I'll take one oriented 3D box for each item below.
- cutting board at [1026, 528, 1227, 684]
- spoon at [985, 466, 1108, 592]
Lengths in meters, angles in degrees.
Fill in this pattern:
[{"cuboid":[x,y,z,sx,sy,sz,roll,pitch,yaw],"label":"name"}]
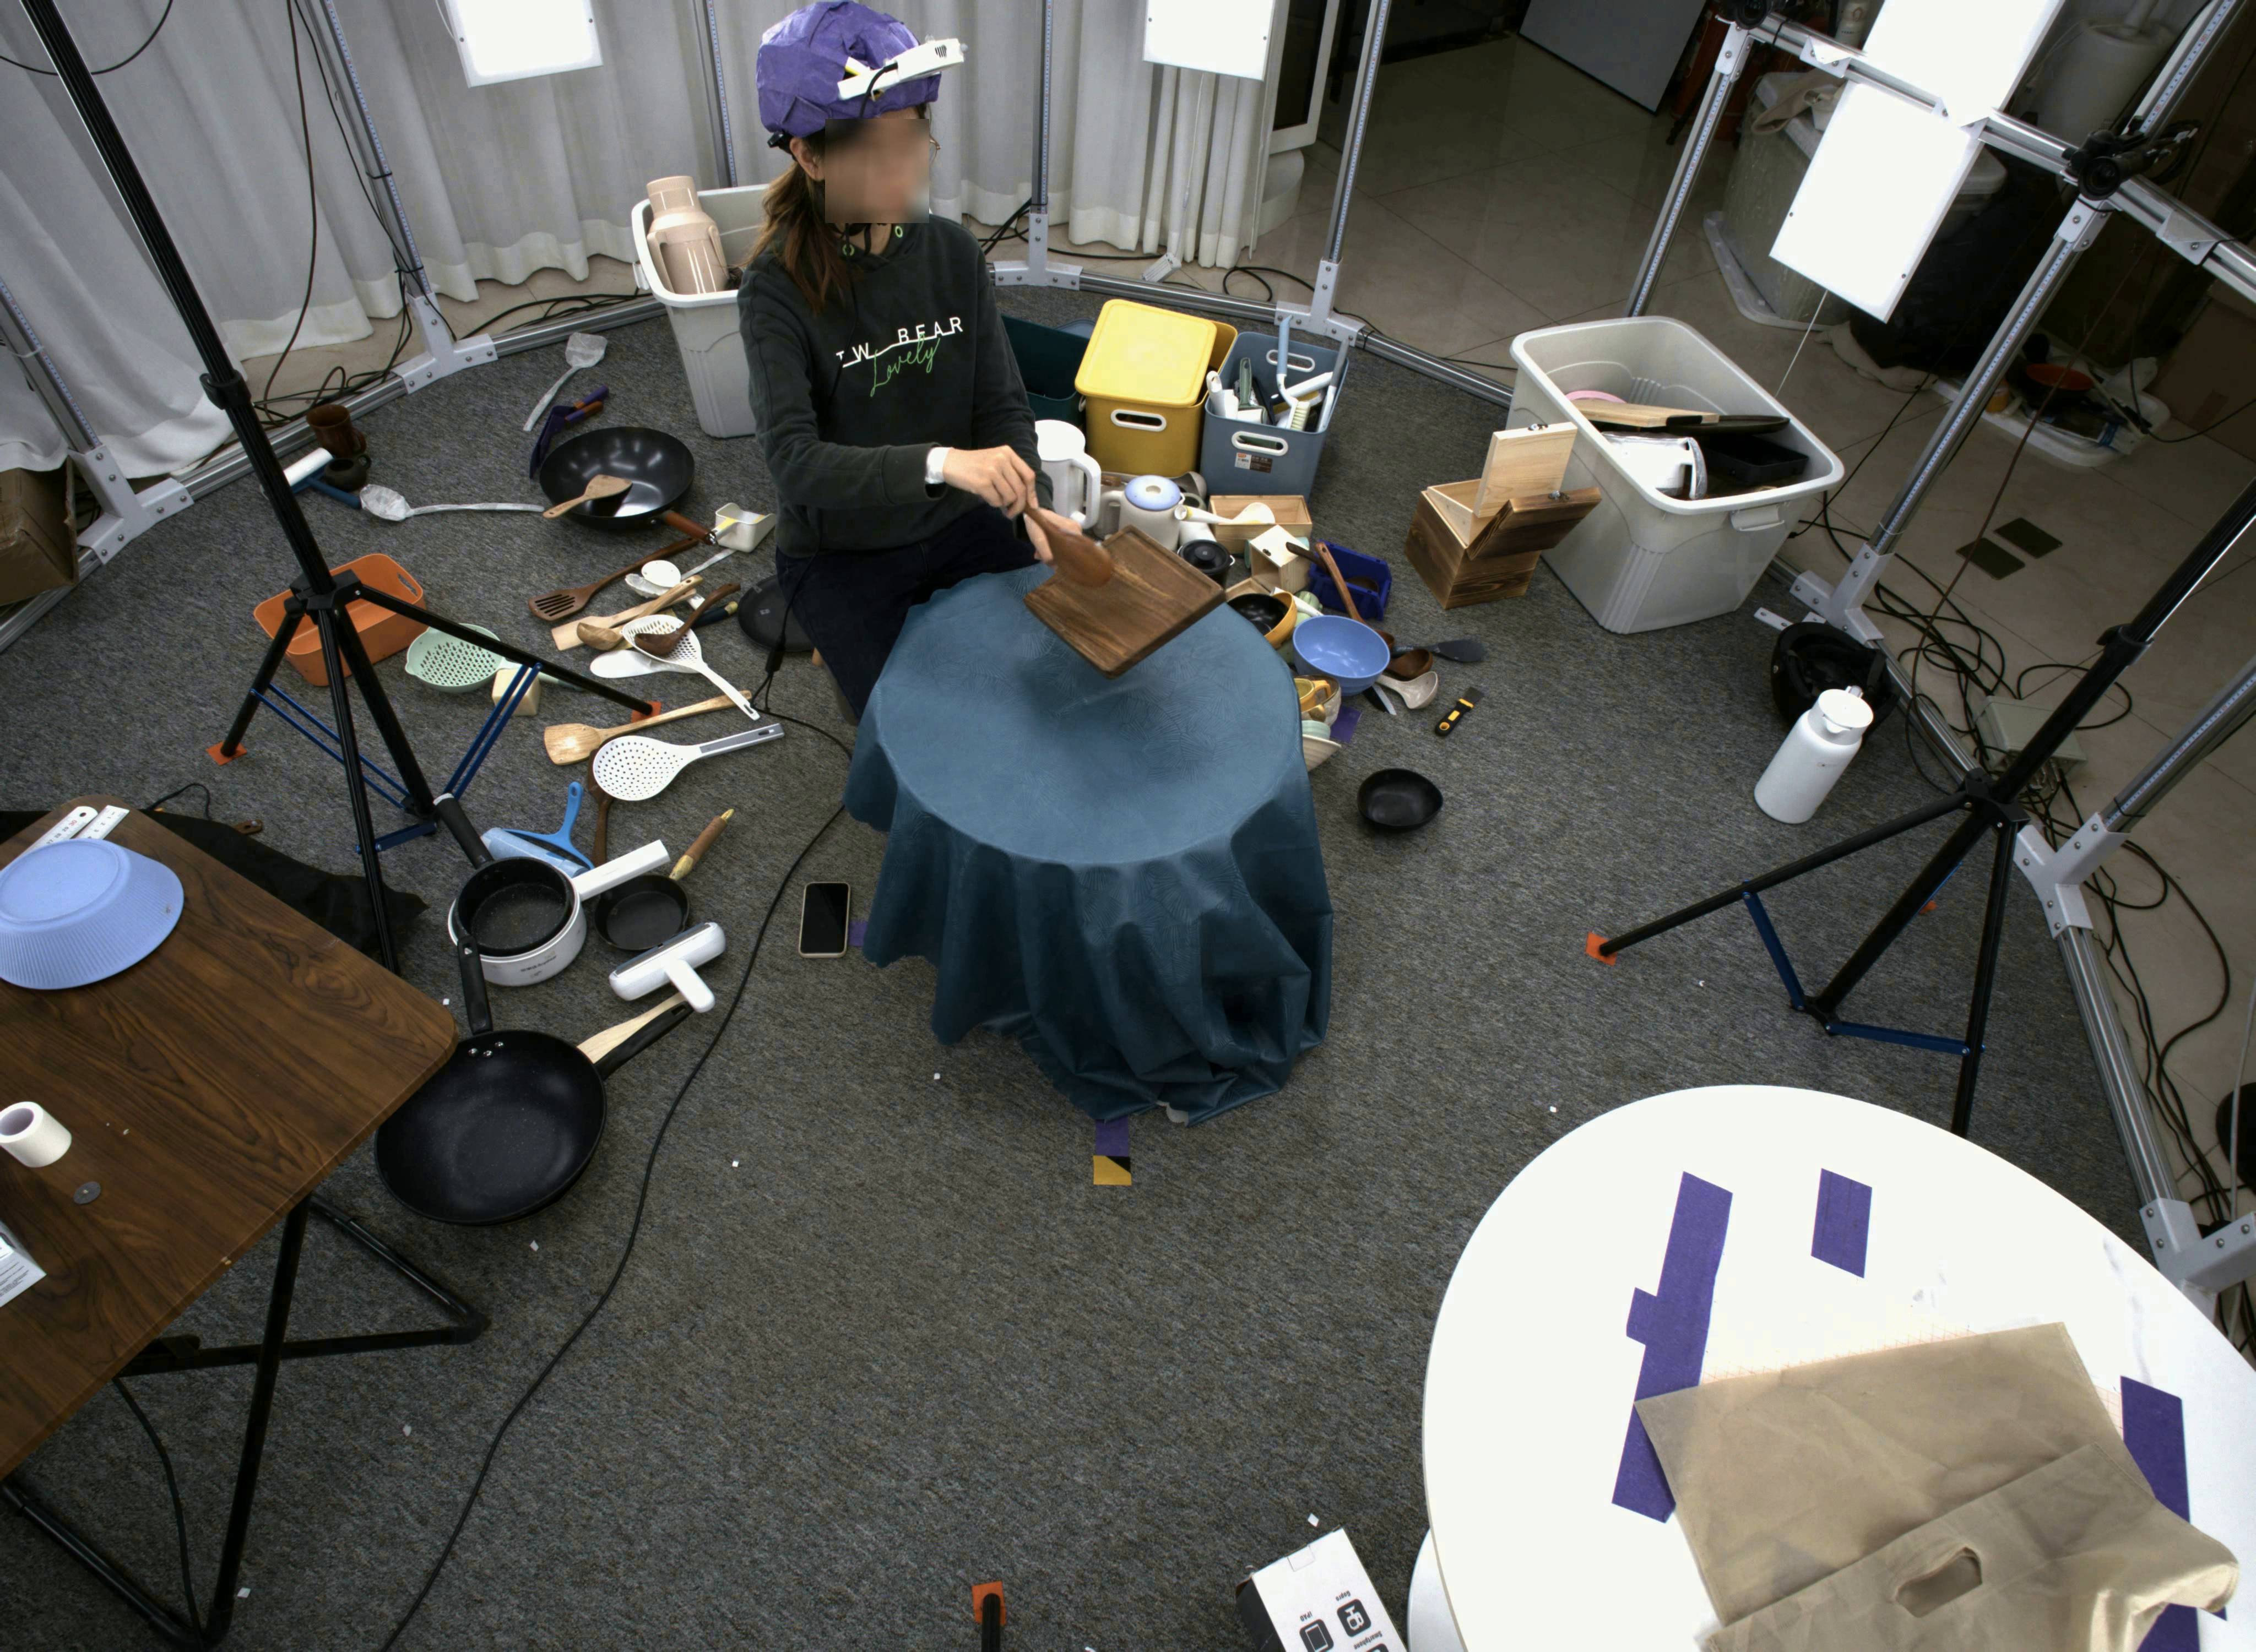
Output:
[{"cuboid":[-0.031,-0.334,1.806,0.201,0.022,0.359,-36,43,-8],"label":"cutting board"},{"cuboid":[-0.108,-0.386,1.694,0.212,0.075,0.017,45,48,-24],"label":"spoon"}]
